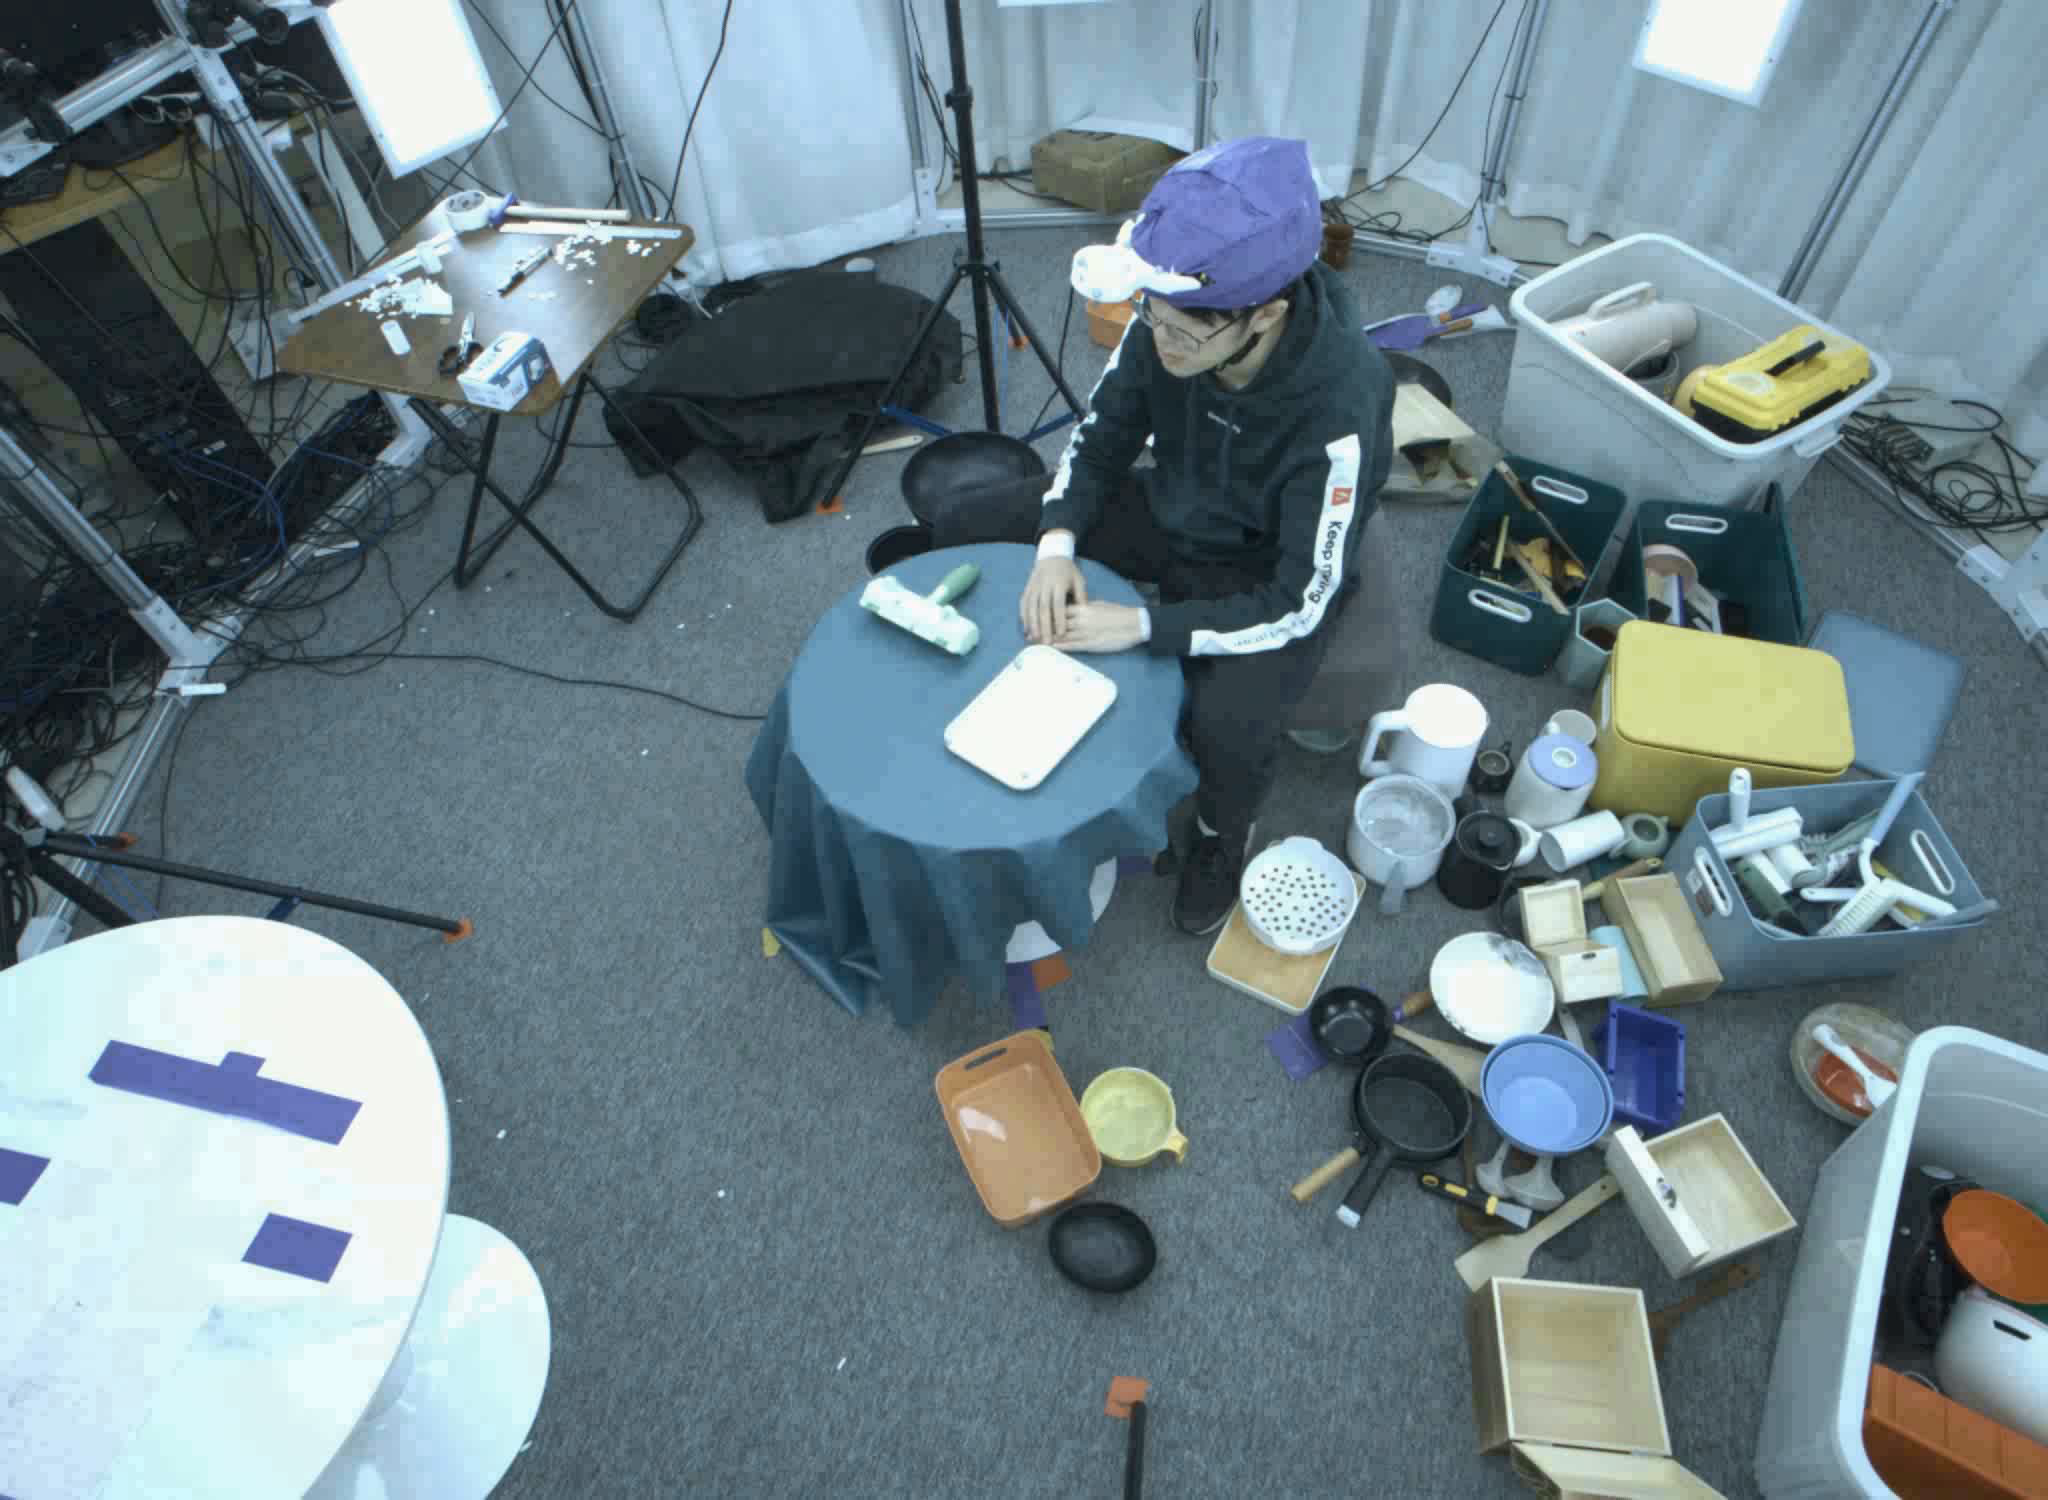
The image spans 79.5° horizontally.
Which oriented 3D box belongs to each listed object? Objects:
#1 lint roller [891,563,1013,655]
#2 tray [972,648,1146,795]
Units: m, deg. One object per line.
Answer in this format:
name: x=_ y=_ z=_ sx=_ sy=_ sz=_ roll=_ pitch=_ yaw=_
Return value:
lint roller: x=-0.081 y=-0.250 z=1.916 sx=0.195 sy=0.083 sz=0.184 roll=30 pitch=65 yaw=22
tray: x=0.053 y=-0.043 z=1.801 sx=0.168 sy=0.017 sz=0.241 roll=33 pitch=62 yaw=22
